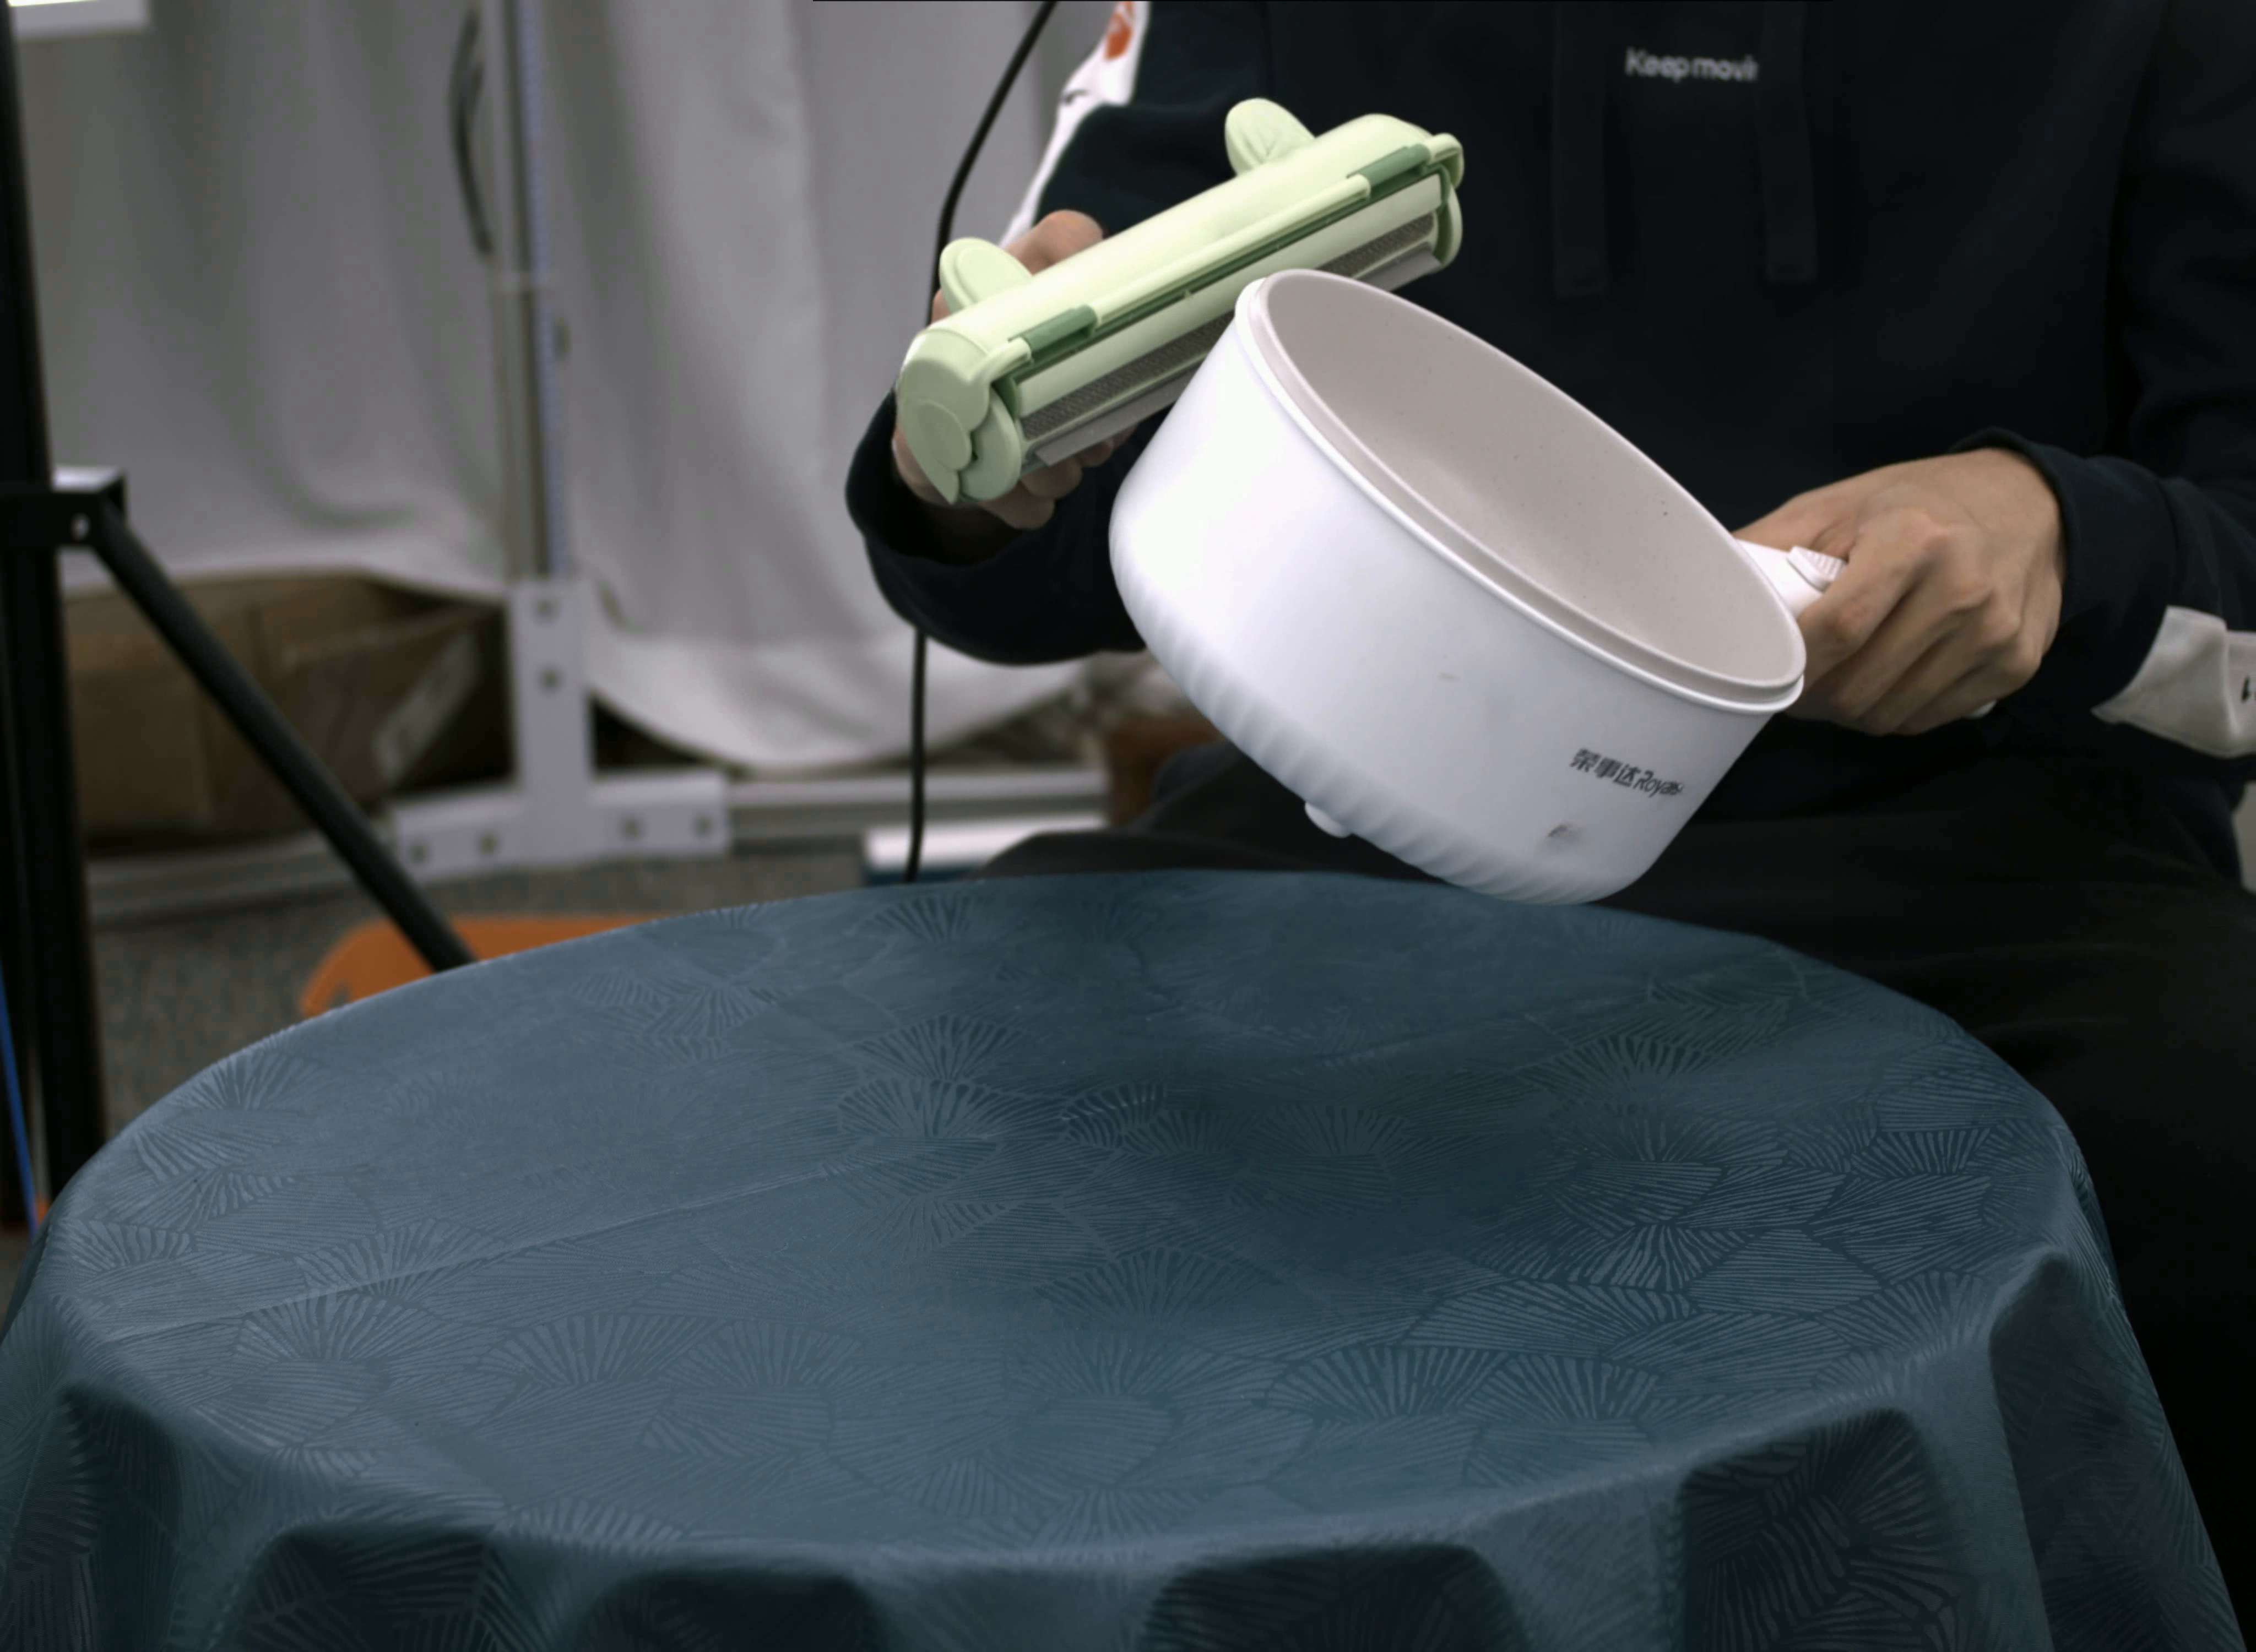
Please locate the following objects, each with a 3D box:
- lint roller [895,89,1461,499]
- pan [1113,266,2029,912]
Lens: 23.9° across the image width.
[{"bbox_3d":[-0.014,-0.159,1.658,0.195,0.082,0.186,-29,8,-30],"label":"lint roller"},{"bbox_3d":[0.142,-0.052,1.616,0.345,0.103,0.205,13,31,-46],"label":"pan"}]
